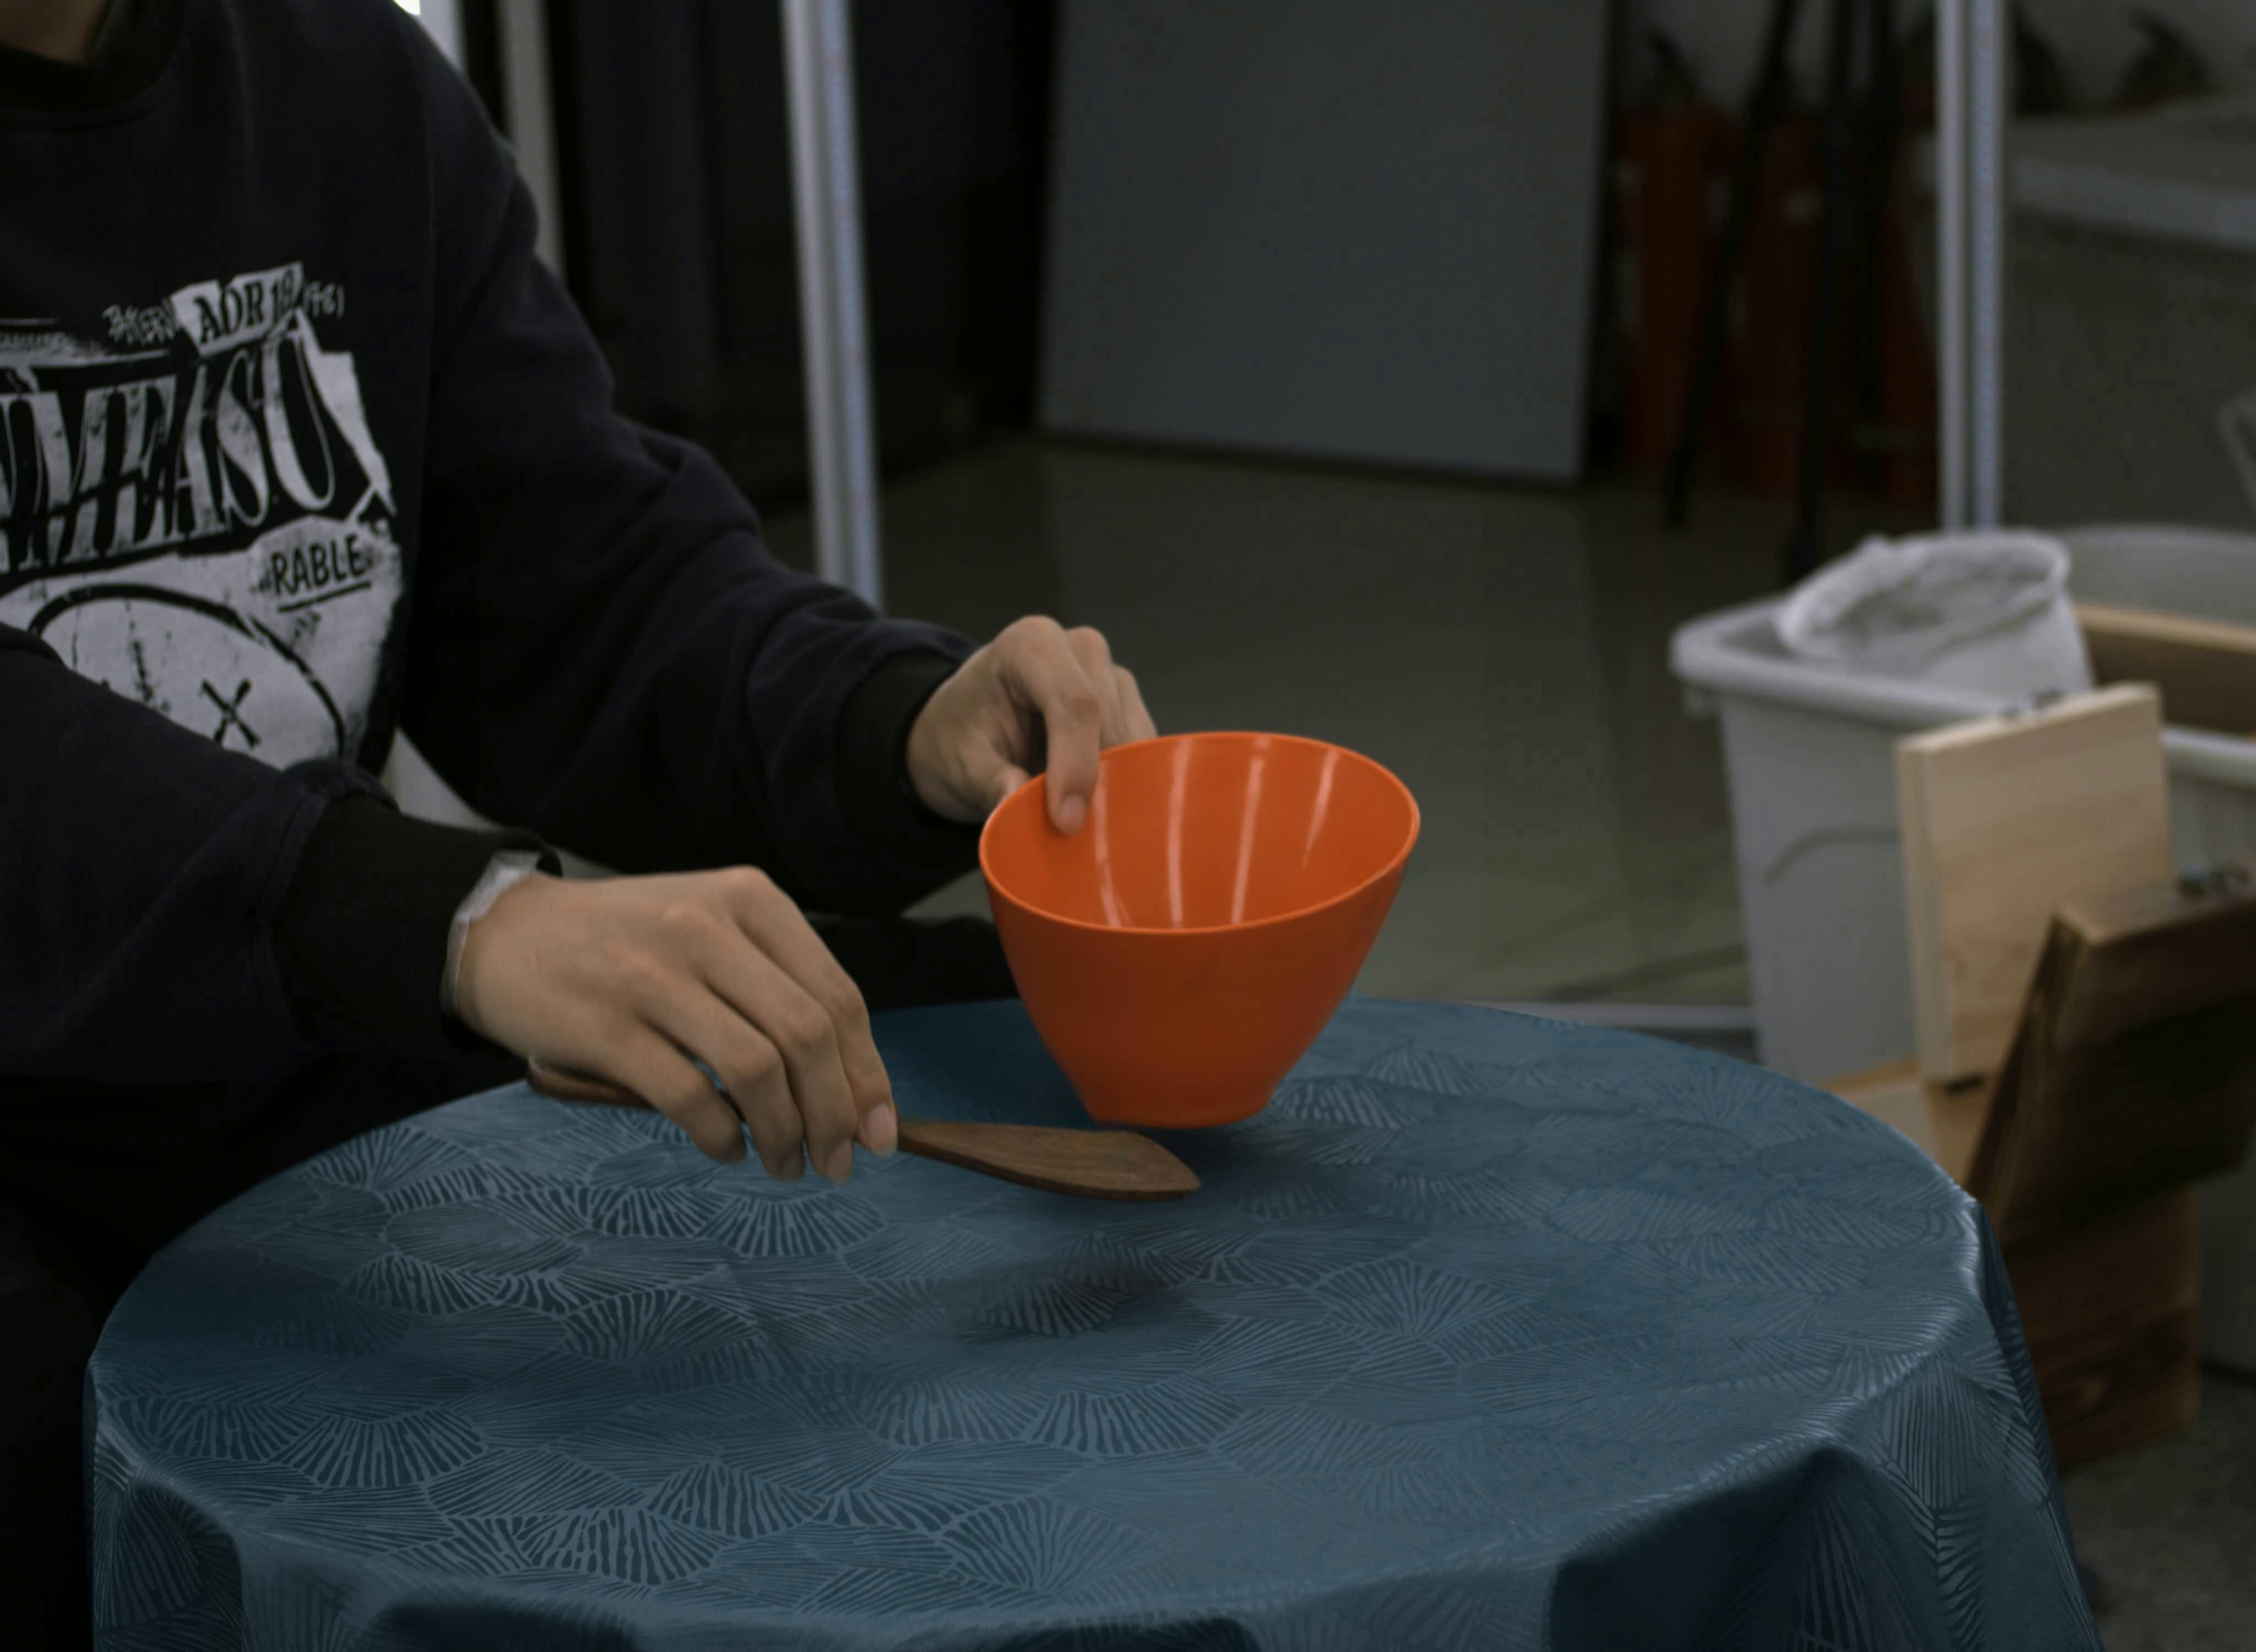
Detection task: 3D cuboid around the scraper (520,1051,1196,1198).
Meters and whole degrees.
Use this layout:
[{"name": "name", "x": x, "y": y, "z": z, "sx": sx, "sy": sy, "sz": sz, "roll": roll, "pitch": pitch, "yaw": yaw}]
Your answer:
[{"name": "scraper", "x": -0.083, "y": 0.089, "z": 1.643, "sx": 0.207, "sy": 0.011, "sz": 0.076, "roll": 11, "pitch": 7, "yaw": -17}]

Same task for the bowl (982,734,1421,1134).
[{"name": "bowl", "x": 0.023, "y": 0.040, "z": 1.804, "sx": 0.146, "sy": 0.106, "sz": 0.148, "roll": 1, "pitch": 18, "yaw": -1}]
